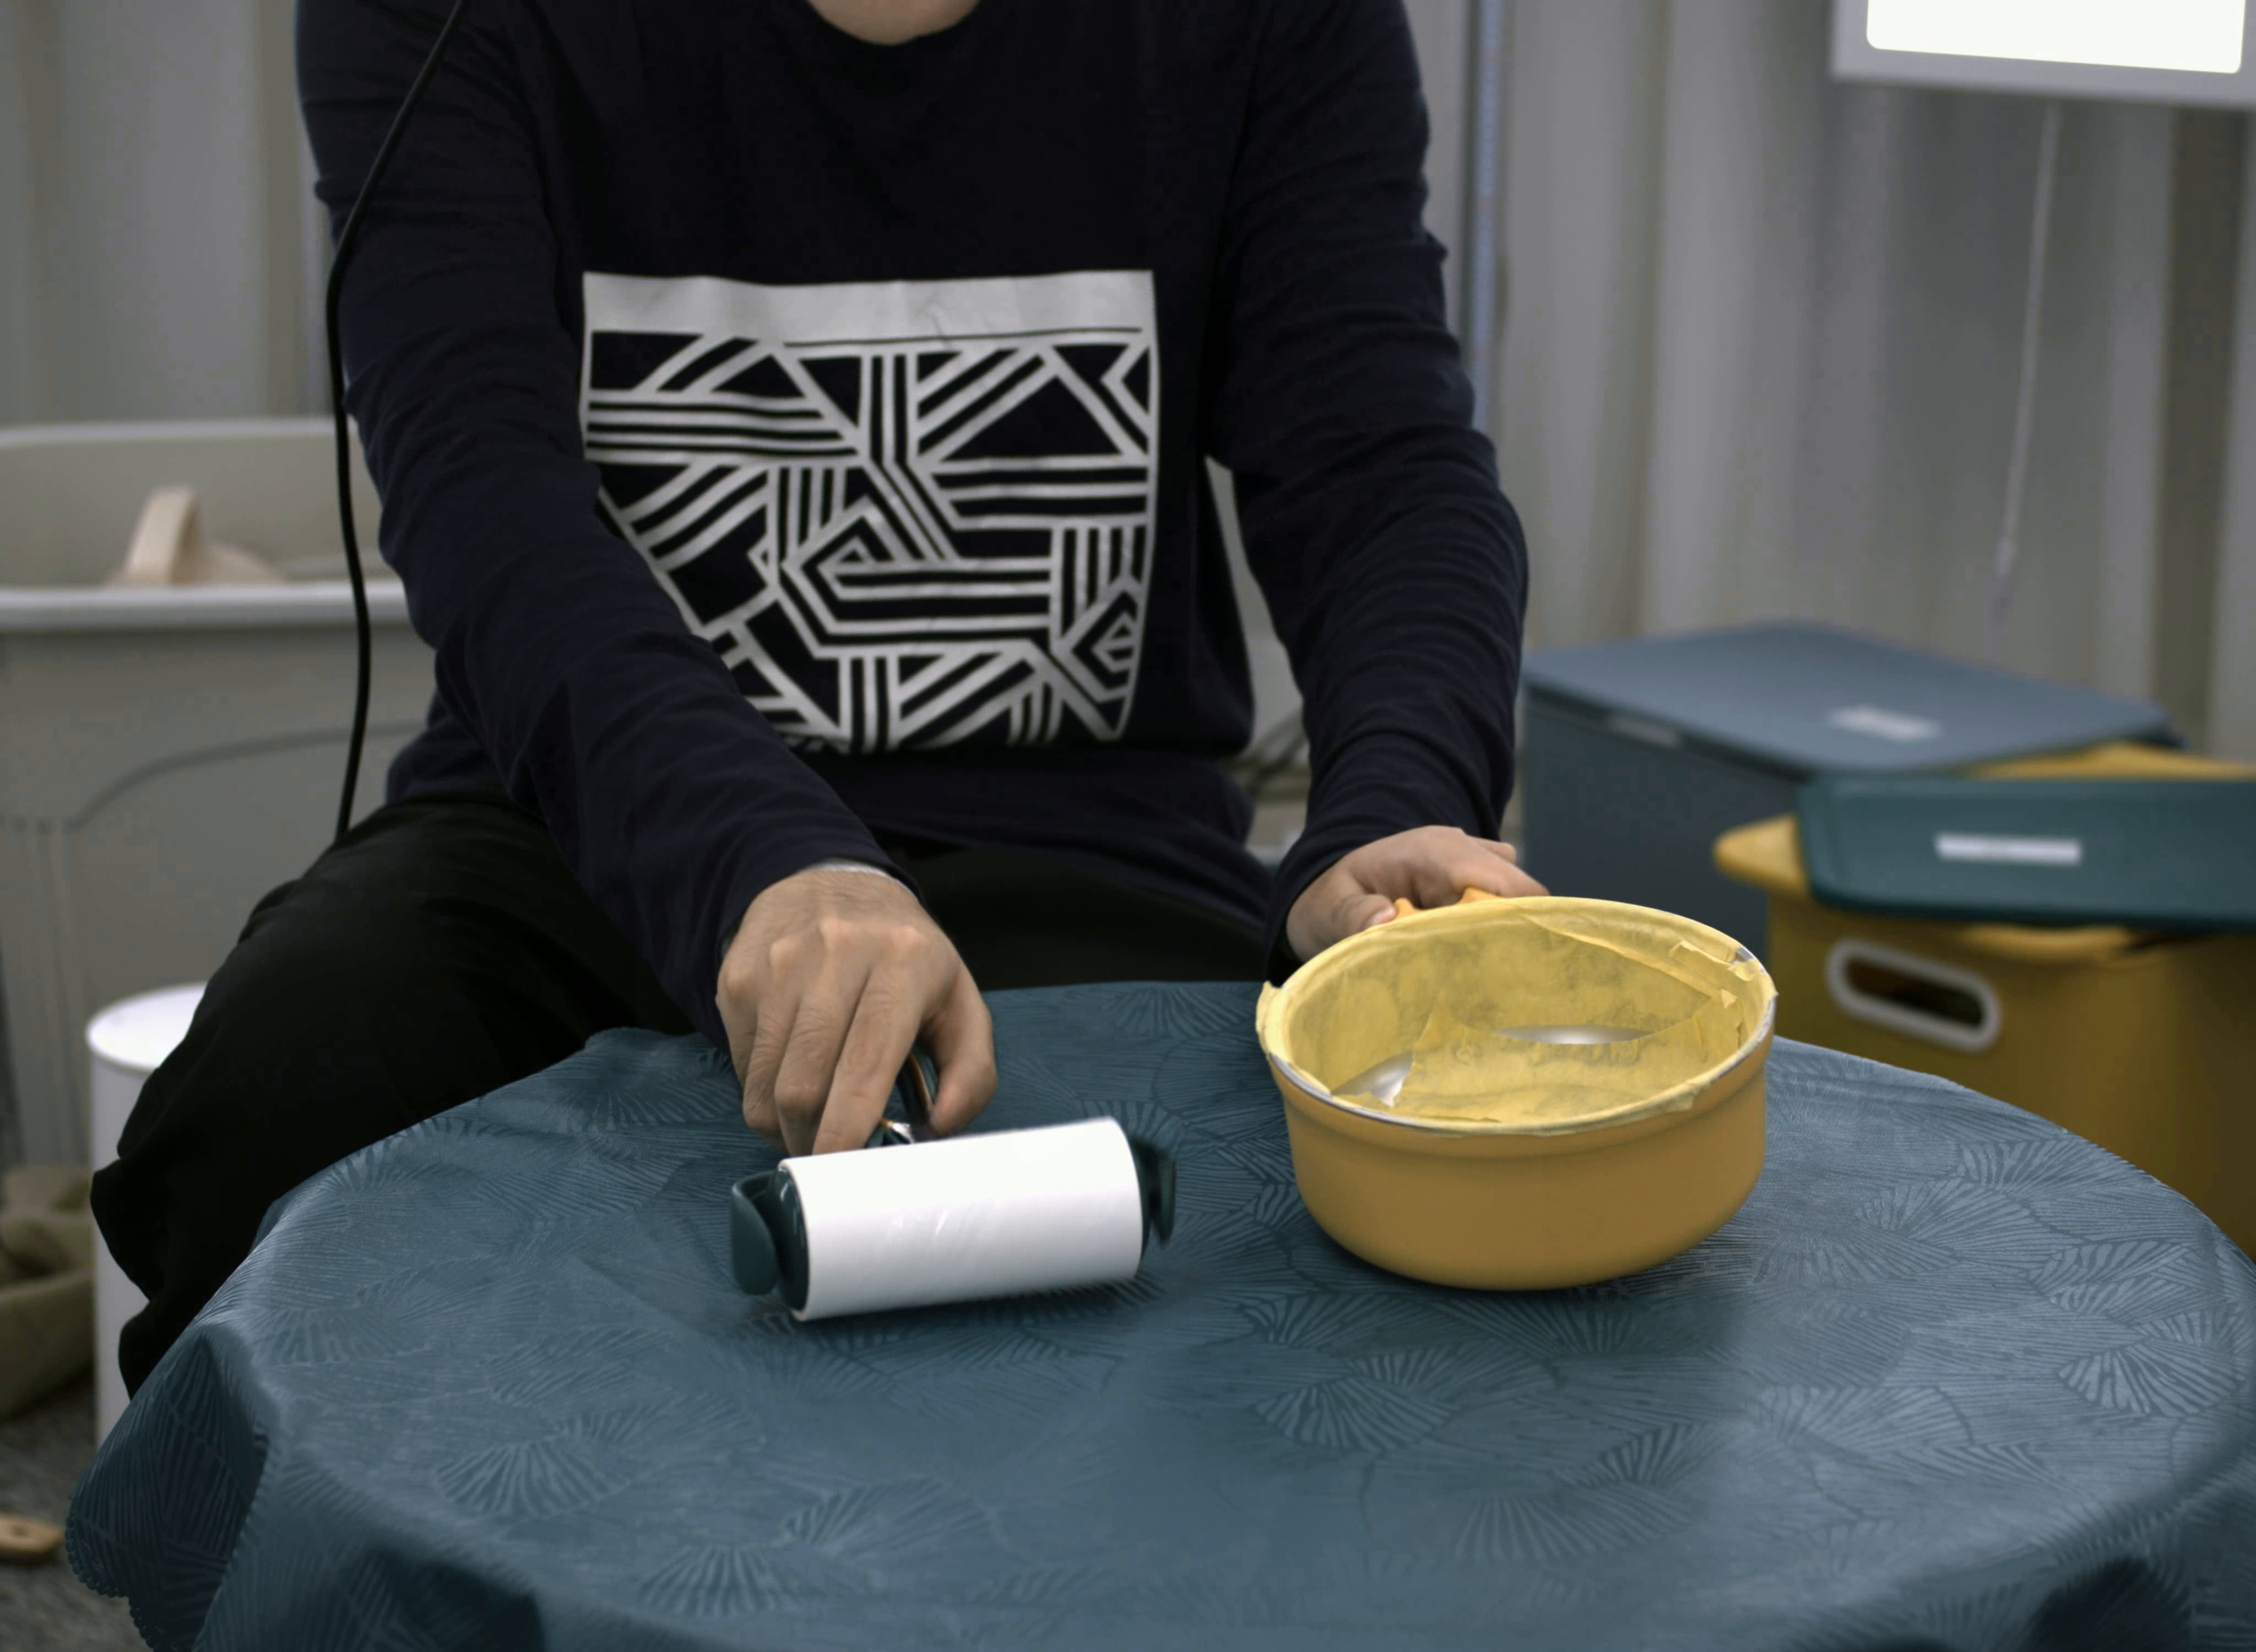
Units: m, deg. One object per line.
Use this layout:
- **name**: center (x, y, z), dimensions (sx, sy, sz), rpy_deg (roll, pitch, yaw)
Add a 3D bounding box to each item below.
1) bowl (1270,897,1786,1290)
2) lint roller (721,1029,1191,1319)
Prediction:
- **bowl**: center (0.118, 0.079, 1.595), dimensions (0.153, 0.075, 0.177), rpy_deg (-13, 26, -14)
- **lint roller**: center (-0.070, 0.084, 1.577), dimensions (0.134, 0.049, 0.178), rpy_deg (-9, 27, -16)
